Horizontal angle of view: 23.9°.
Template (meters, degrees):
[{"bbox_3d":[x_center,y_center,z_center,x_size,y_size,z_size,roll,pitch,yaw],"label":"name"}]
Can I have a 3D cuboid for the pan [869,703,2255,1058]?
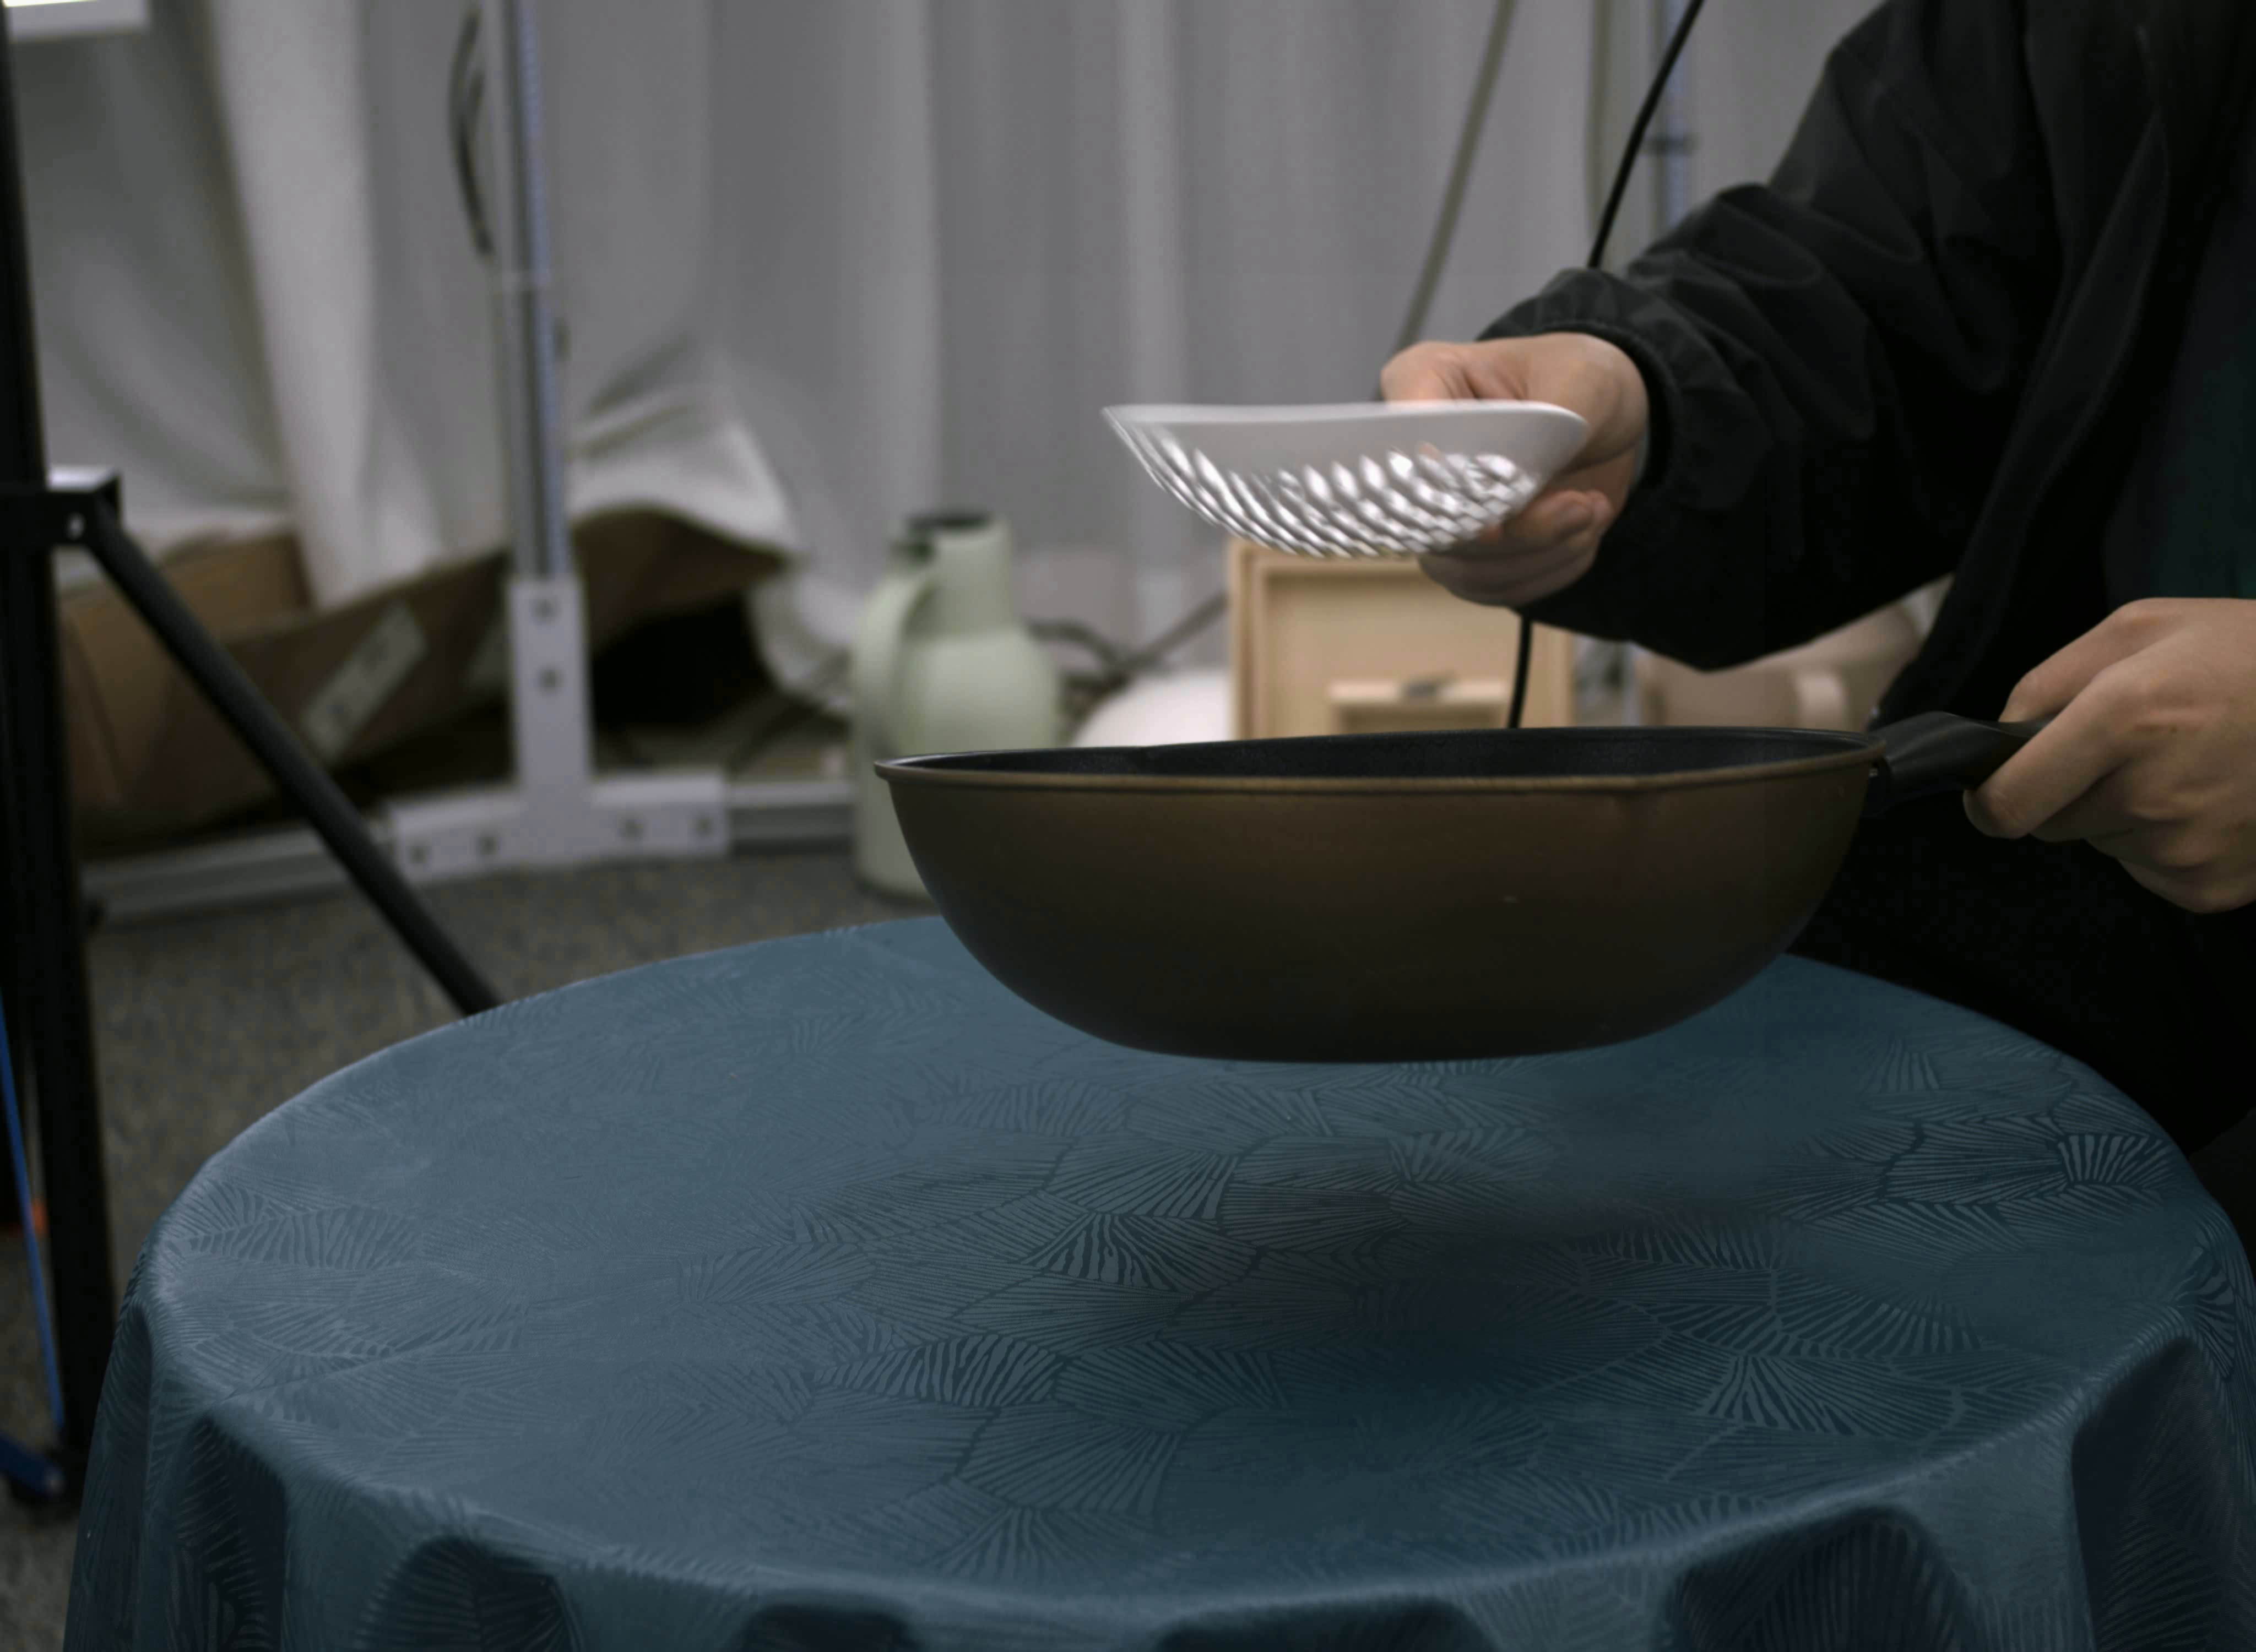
[{"bbox_3d":[0.150,0.013,1.497,0.453,0.087,0.293,-2,3,-24],"label":"pan"}]

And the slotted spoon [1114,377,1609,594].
[{"bbox_3d":[0.095,-0.096,1.586,0.138,0.050,0.343,-3,1,16],"label":"slotted spoon"}]
